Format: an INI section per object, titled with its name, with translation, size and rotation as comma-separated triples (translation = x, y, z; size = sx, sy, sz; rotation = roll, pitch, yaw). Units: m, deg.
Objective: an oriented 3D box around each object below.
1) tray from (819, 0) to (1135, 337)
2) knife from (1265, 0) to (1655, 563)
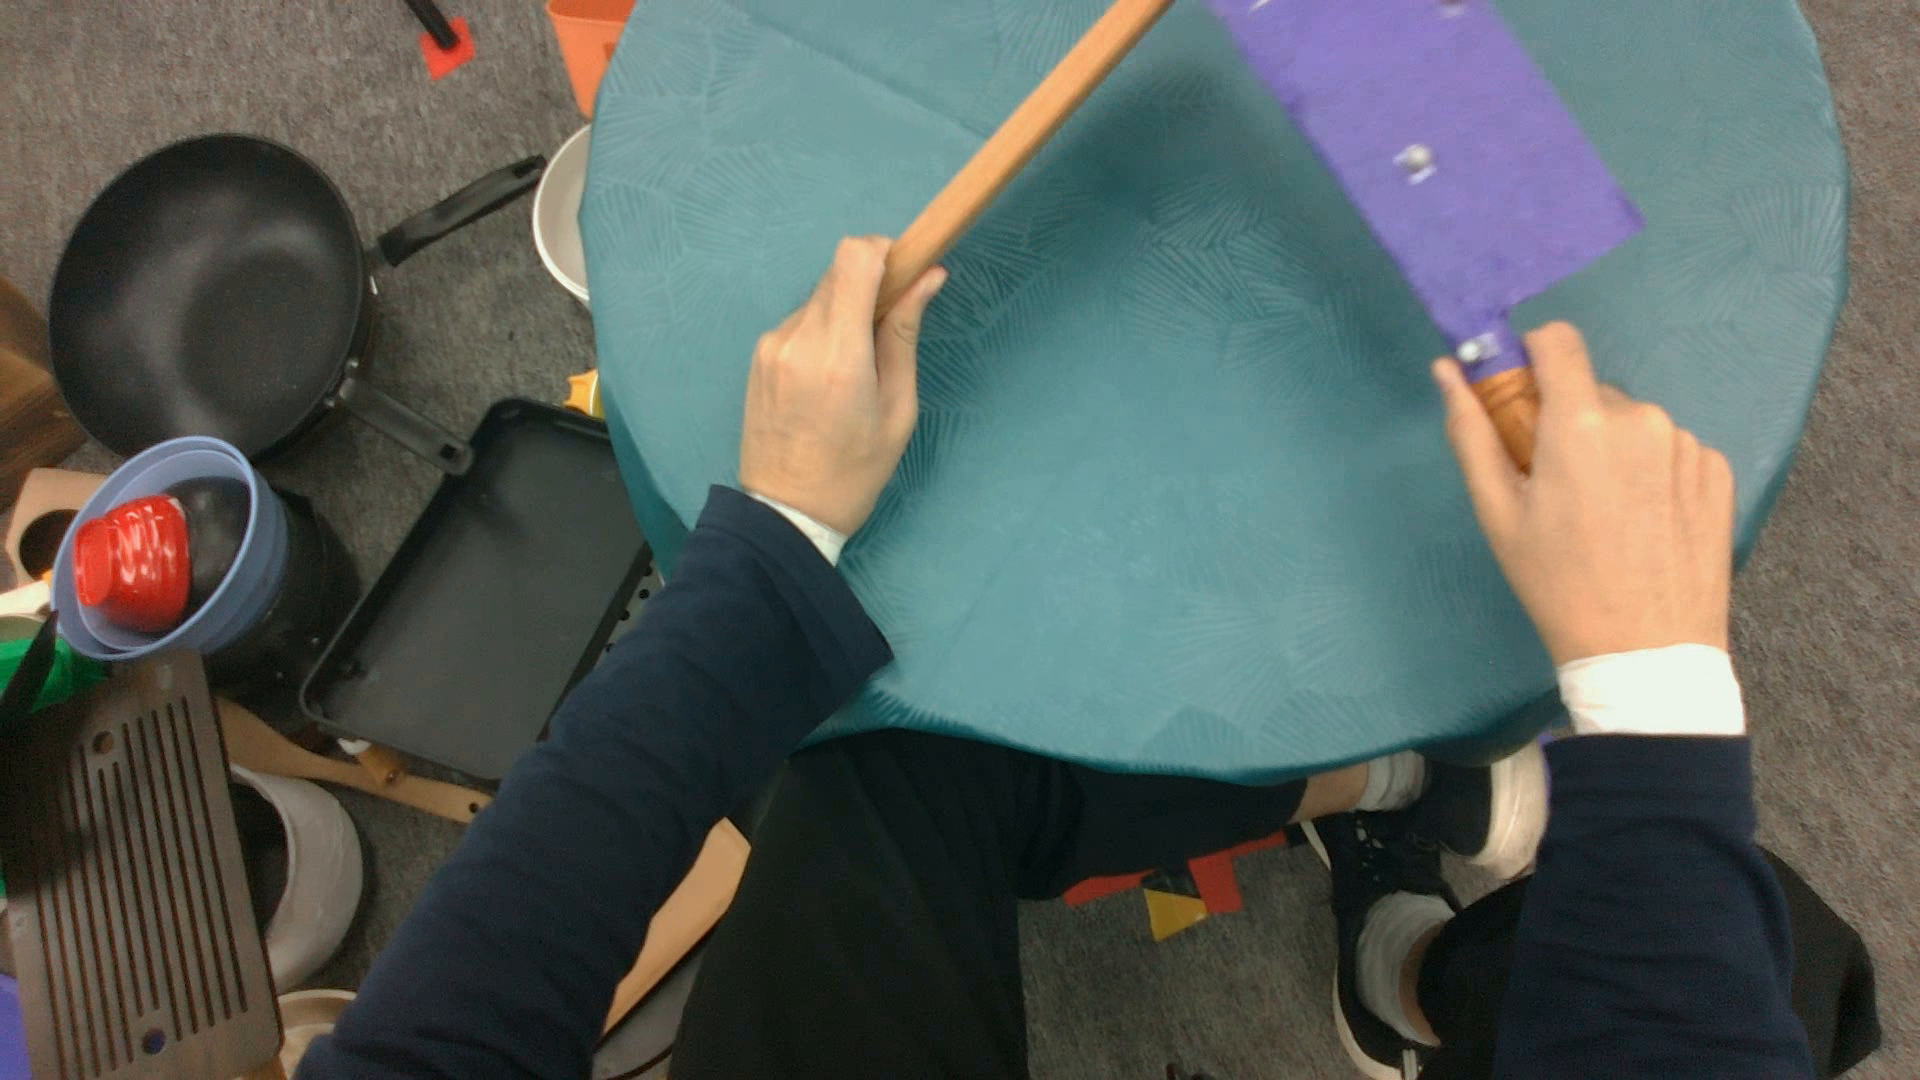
[tray]
translation = 0.017, -0.179, 0.605
size = 0.020, 0.102, 0.231
rotation = 39, 90, -7
[knife]
translation = 0.201, -0.148, 0.530
size = 0.104, 0.032, 0.315
rotation = -29, 89, -2
